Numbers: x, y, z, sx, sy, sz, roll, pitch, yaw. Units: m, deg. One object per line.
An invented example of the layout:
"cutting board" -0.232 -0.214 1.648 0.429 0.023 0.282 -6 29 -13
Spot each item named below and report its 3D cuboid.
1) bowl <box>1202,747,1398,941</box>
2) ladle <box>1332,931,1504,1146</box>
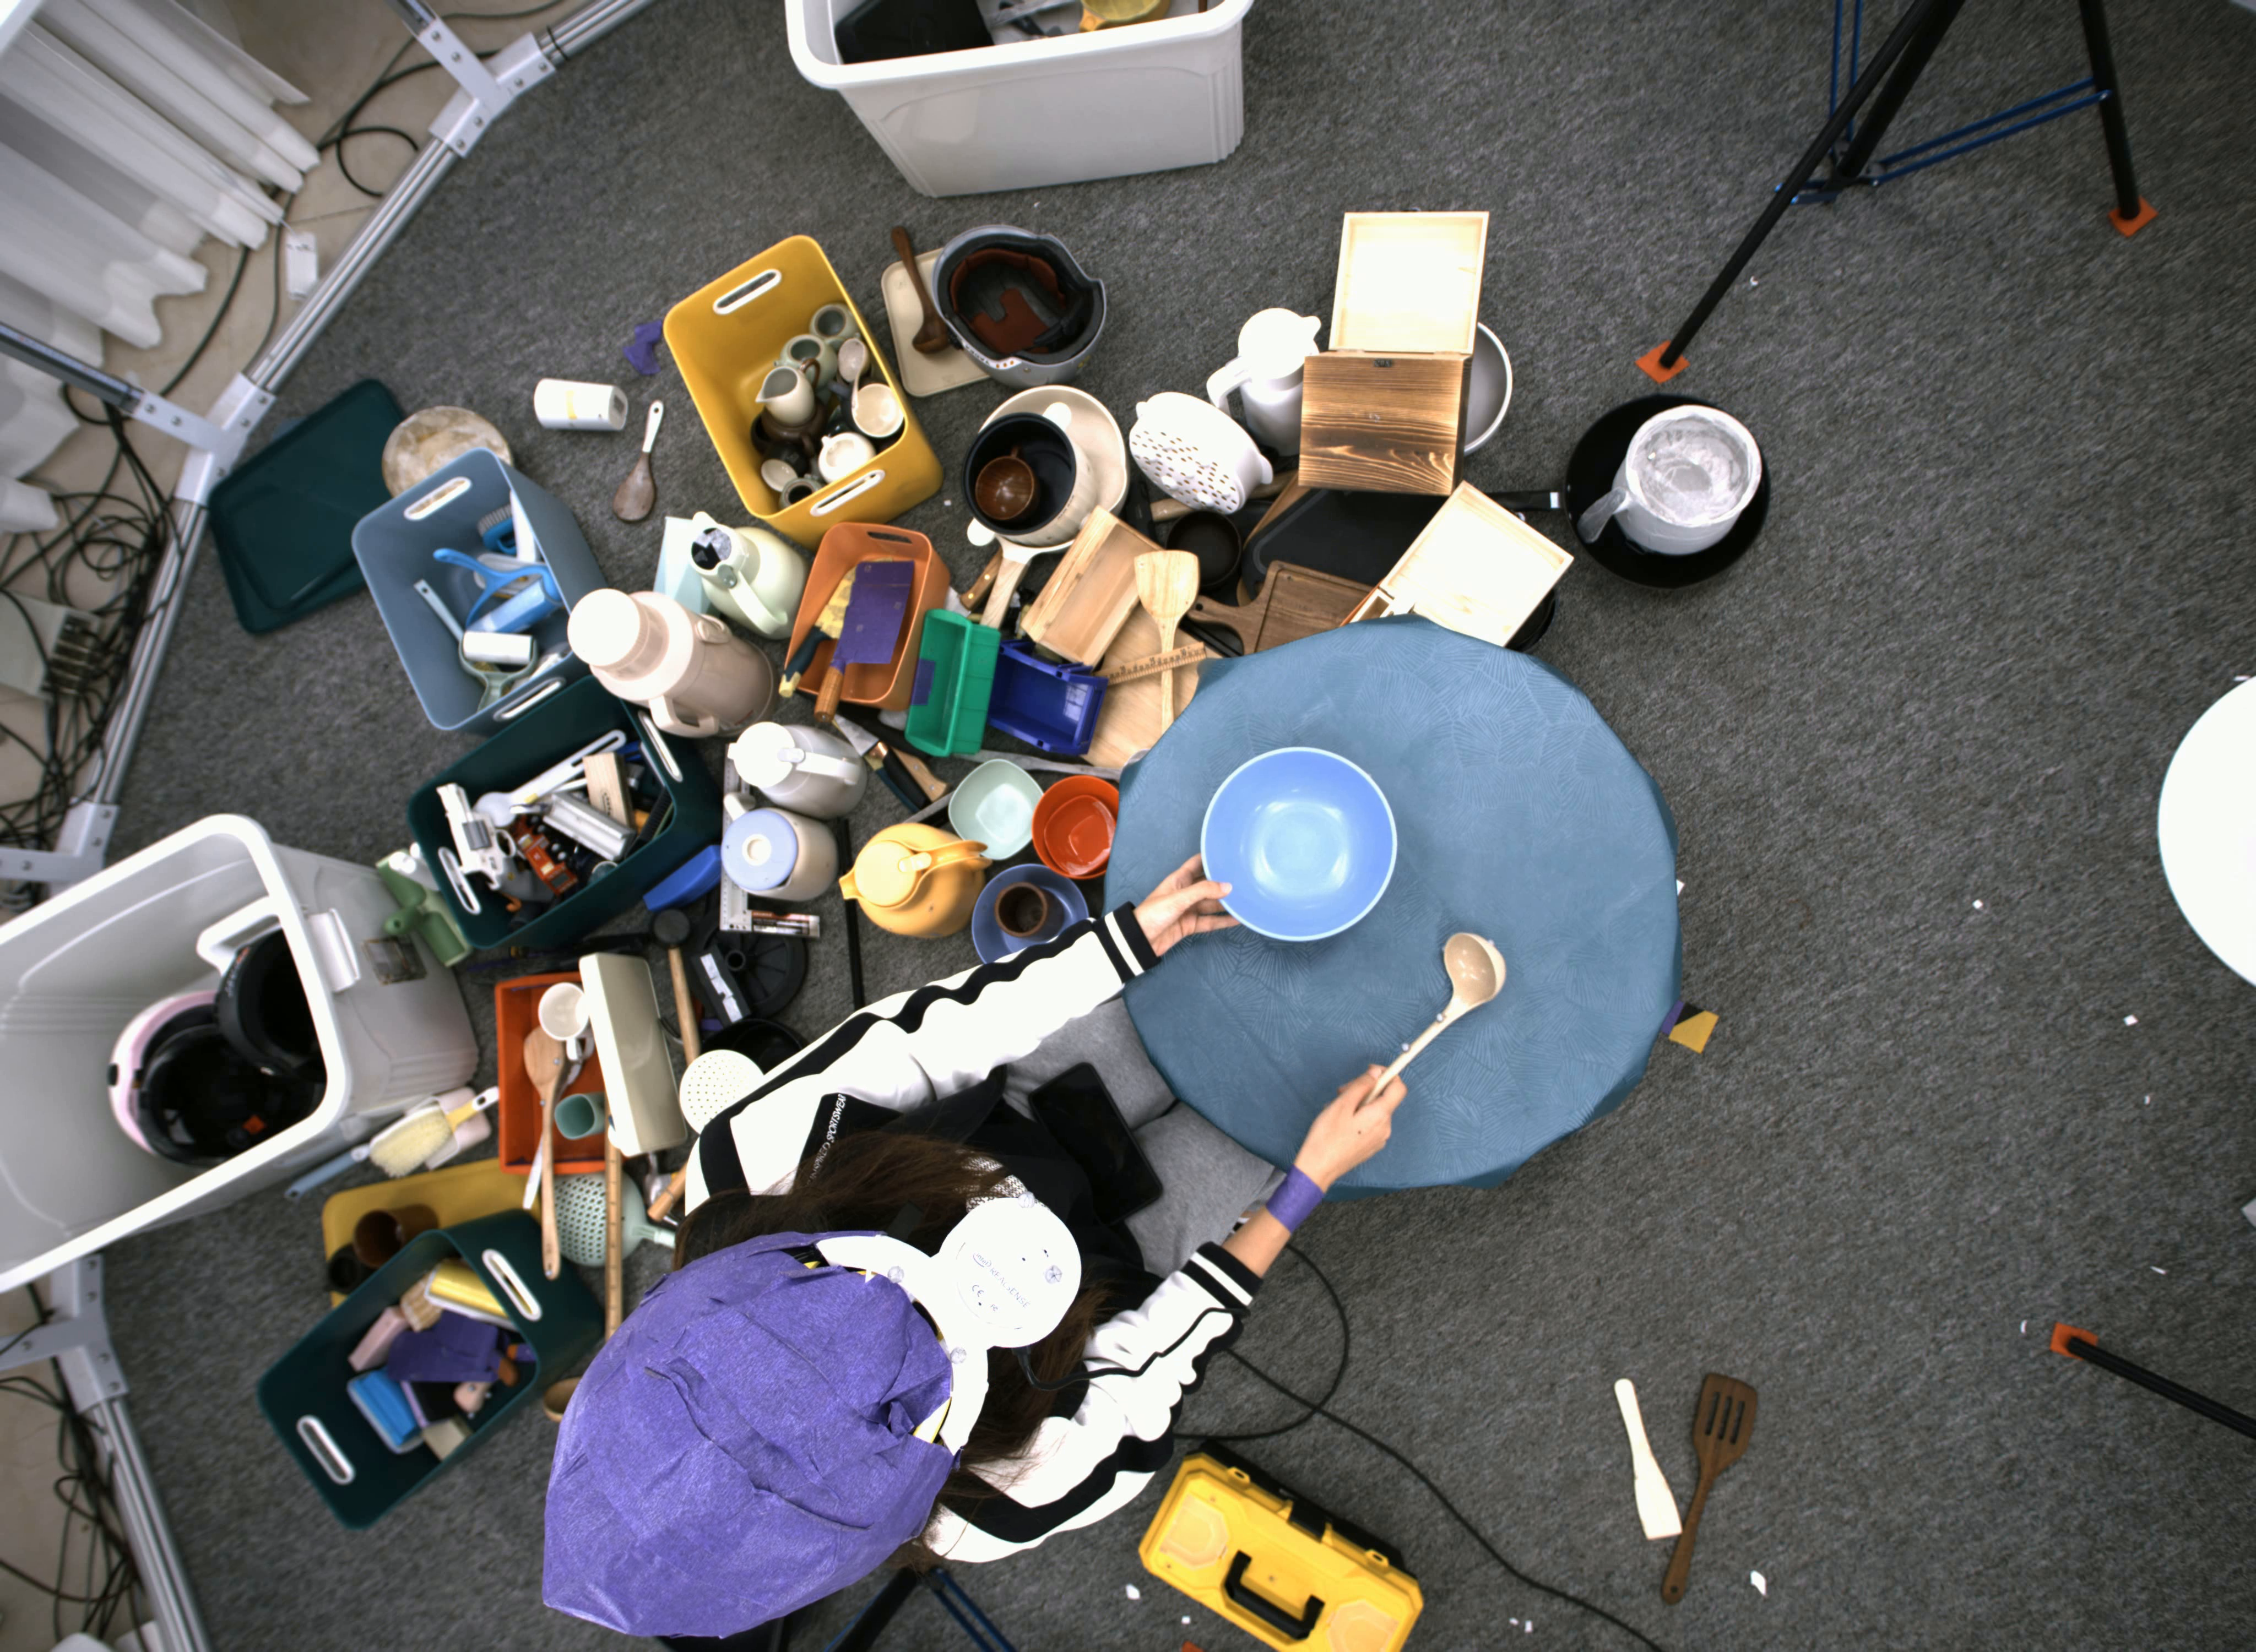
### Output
"bowl" 0.179 0.021 1.434 0.197 0.095 0.195 -1 87 9
"ladle" 0.279 0.207 1.384 0.252 0.074 0.071 -45 43 -11
